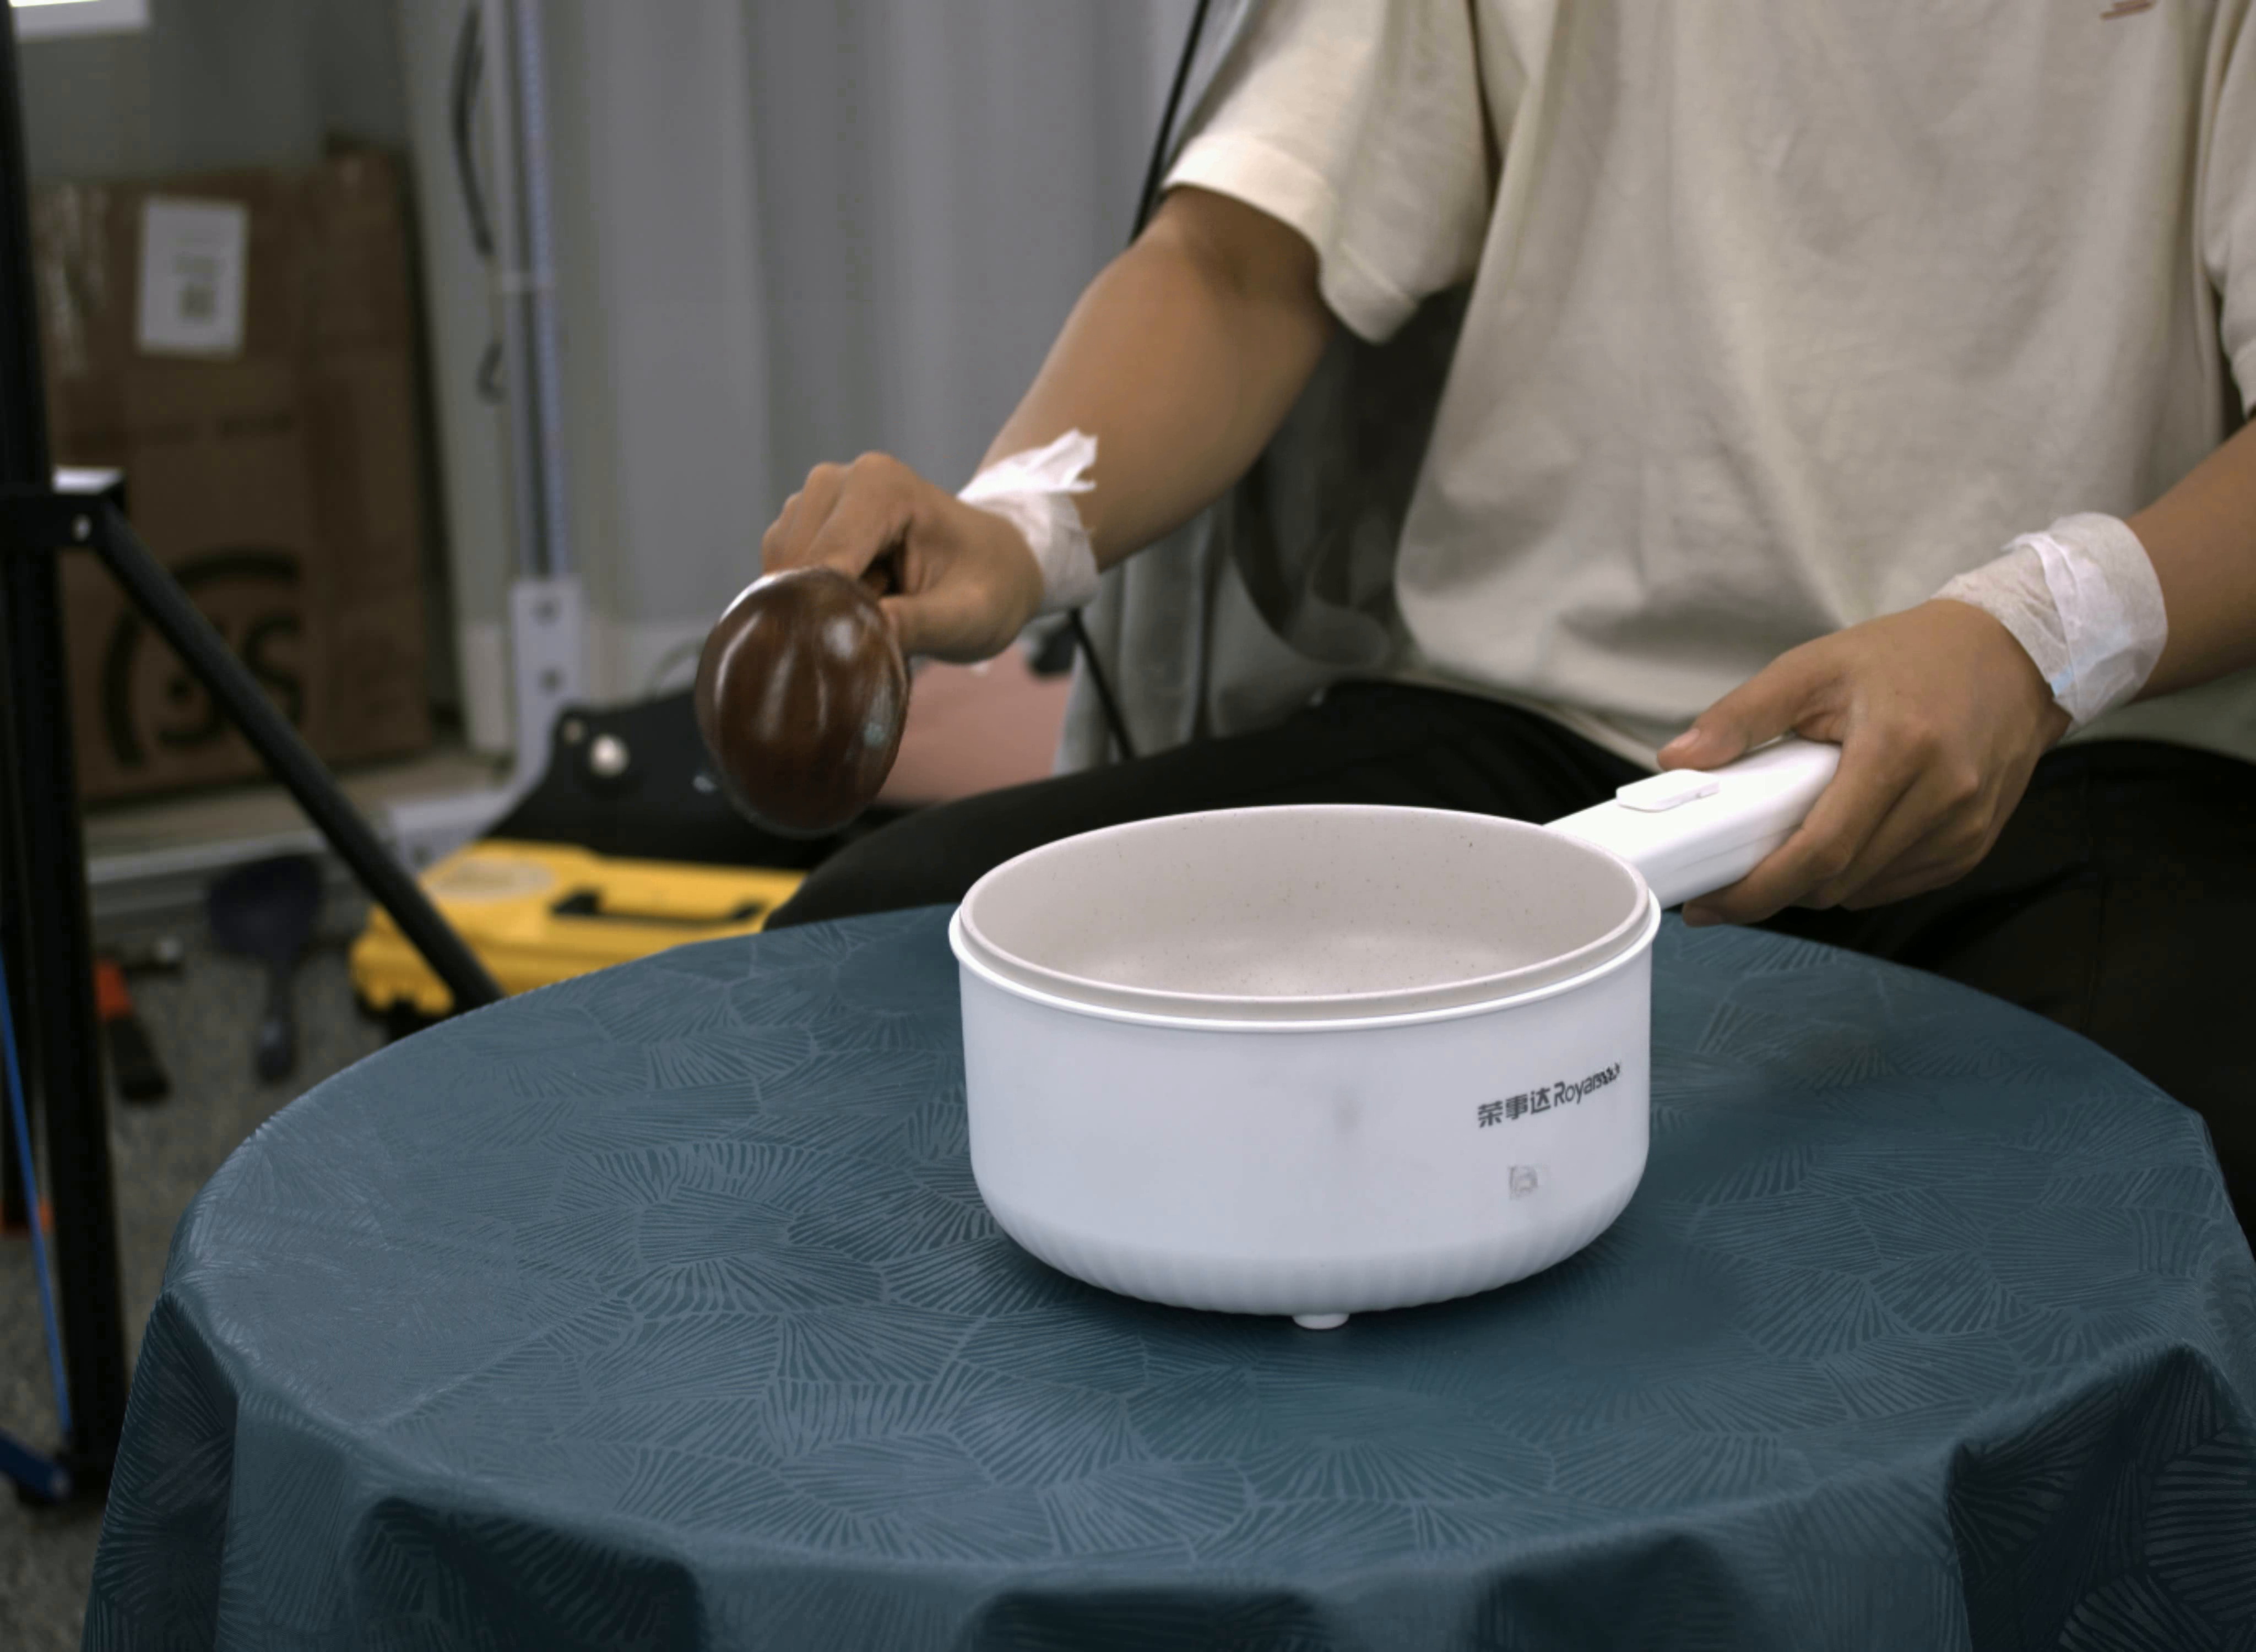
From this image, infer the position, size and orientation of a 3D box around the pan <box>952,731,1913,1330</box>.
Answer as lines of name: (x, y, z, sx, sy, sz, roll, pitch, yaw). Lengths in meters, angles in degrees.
pan: (0.106, 0.053, 1.554, 0.346, 0.102, 0.206, -16, 19, -42)

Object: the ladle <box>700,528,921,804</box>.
ladle: (-0.077, -0.055, 1.677, 0.077, 0.082, 0.272, 20, 7, 8)
